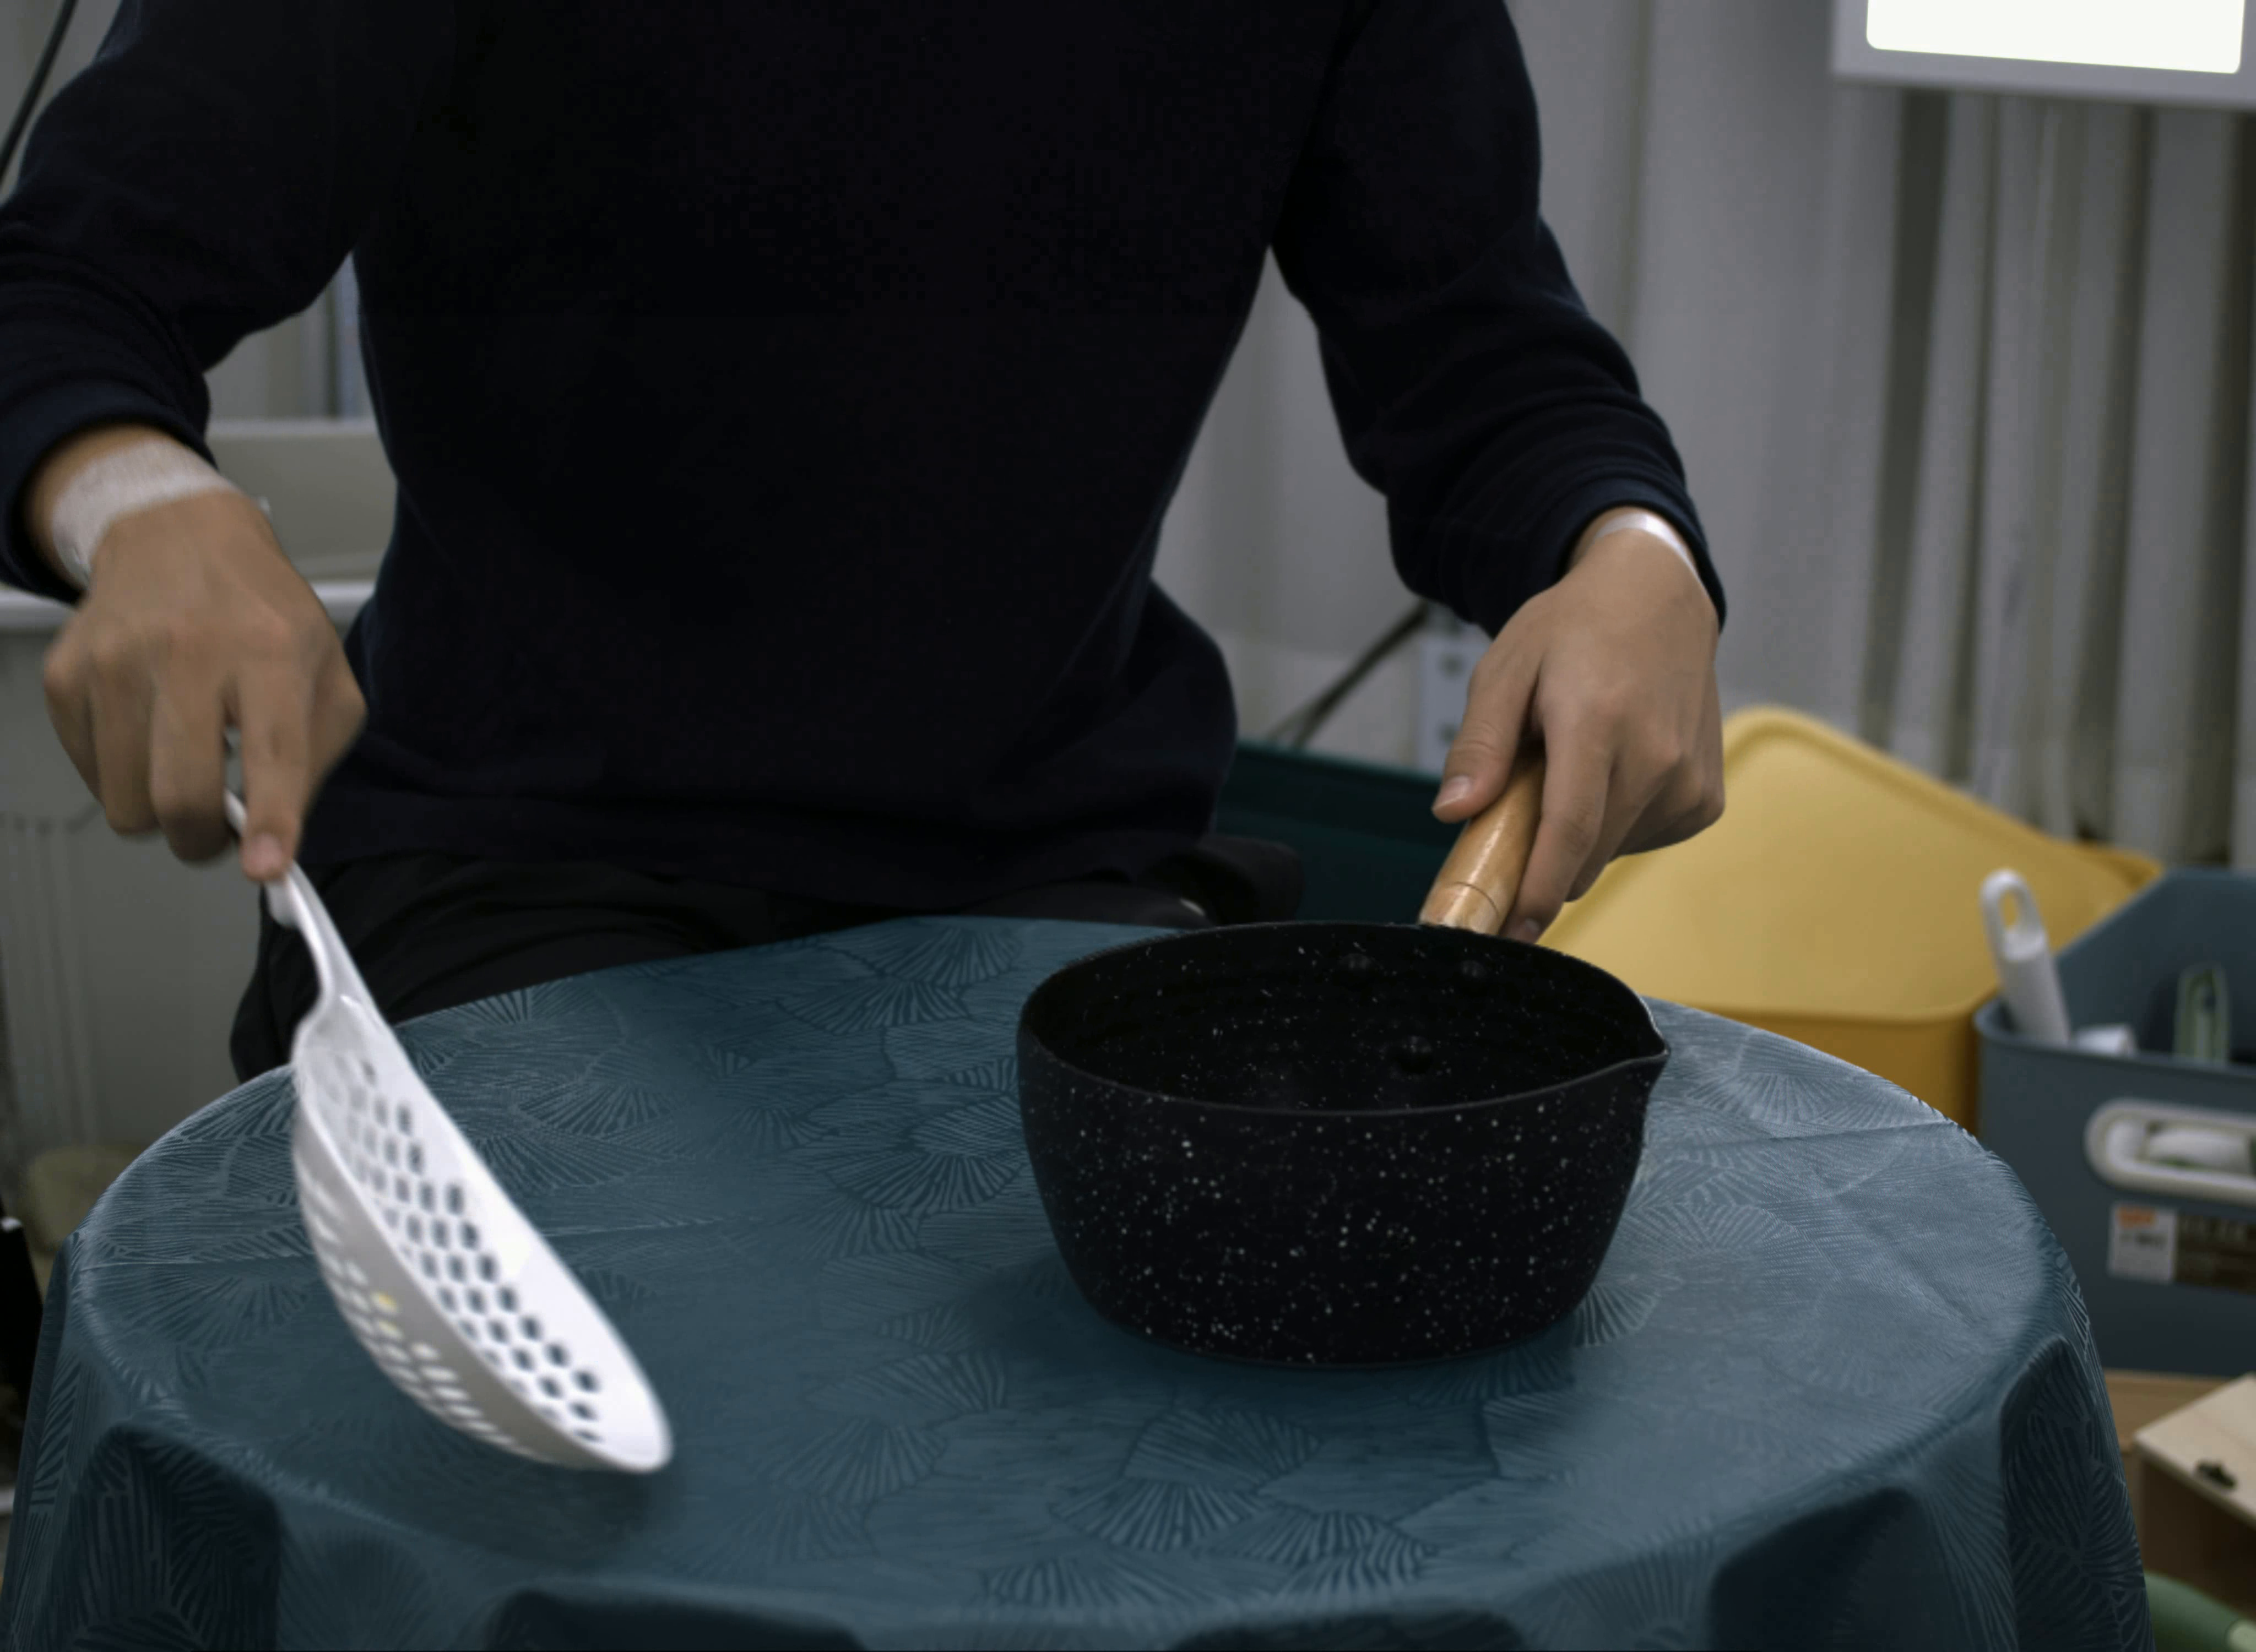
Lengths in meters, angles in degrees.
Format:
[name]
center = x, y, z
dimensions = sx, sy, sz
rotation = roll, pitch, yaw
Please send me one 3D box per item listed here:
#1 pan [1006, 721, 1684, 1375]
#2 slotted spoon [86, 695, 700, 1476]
[pan]
center = 0.084, 0.062, 1.604
dimensions = 0.205, 0.109, 0.343
rotation = 4, 17, 17
[slotted spoon]
center = -0.218, 0.060, 1.444
dimensions = 0.138, 0.050, 0.343
rotation = 39, 14, -46
